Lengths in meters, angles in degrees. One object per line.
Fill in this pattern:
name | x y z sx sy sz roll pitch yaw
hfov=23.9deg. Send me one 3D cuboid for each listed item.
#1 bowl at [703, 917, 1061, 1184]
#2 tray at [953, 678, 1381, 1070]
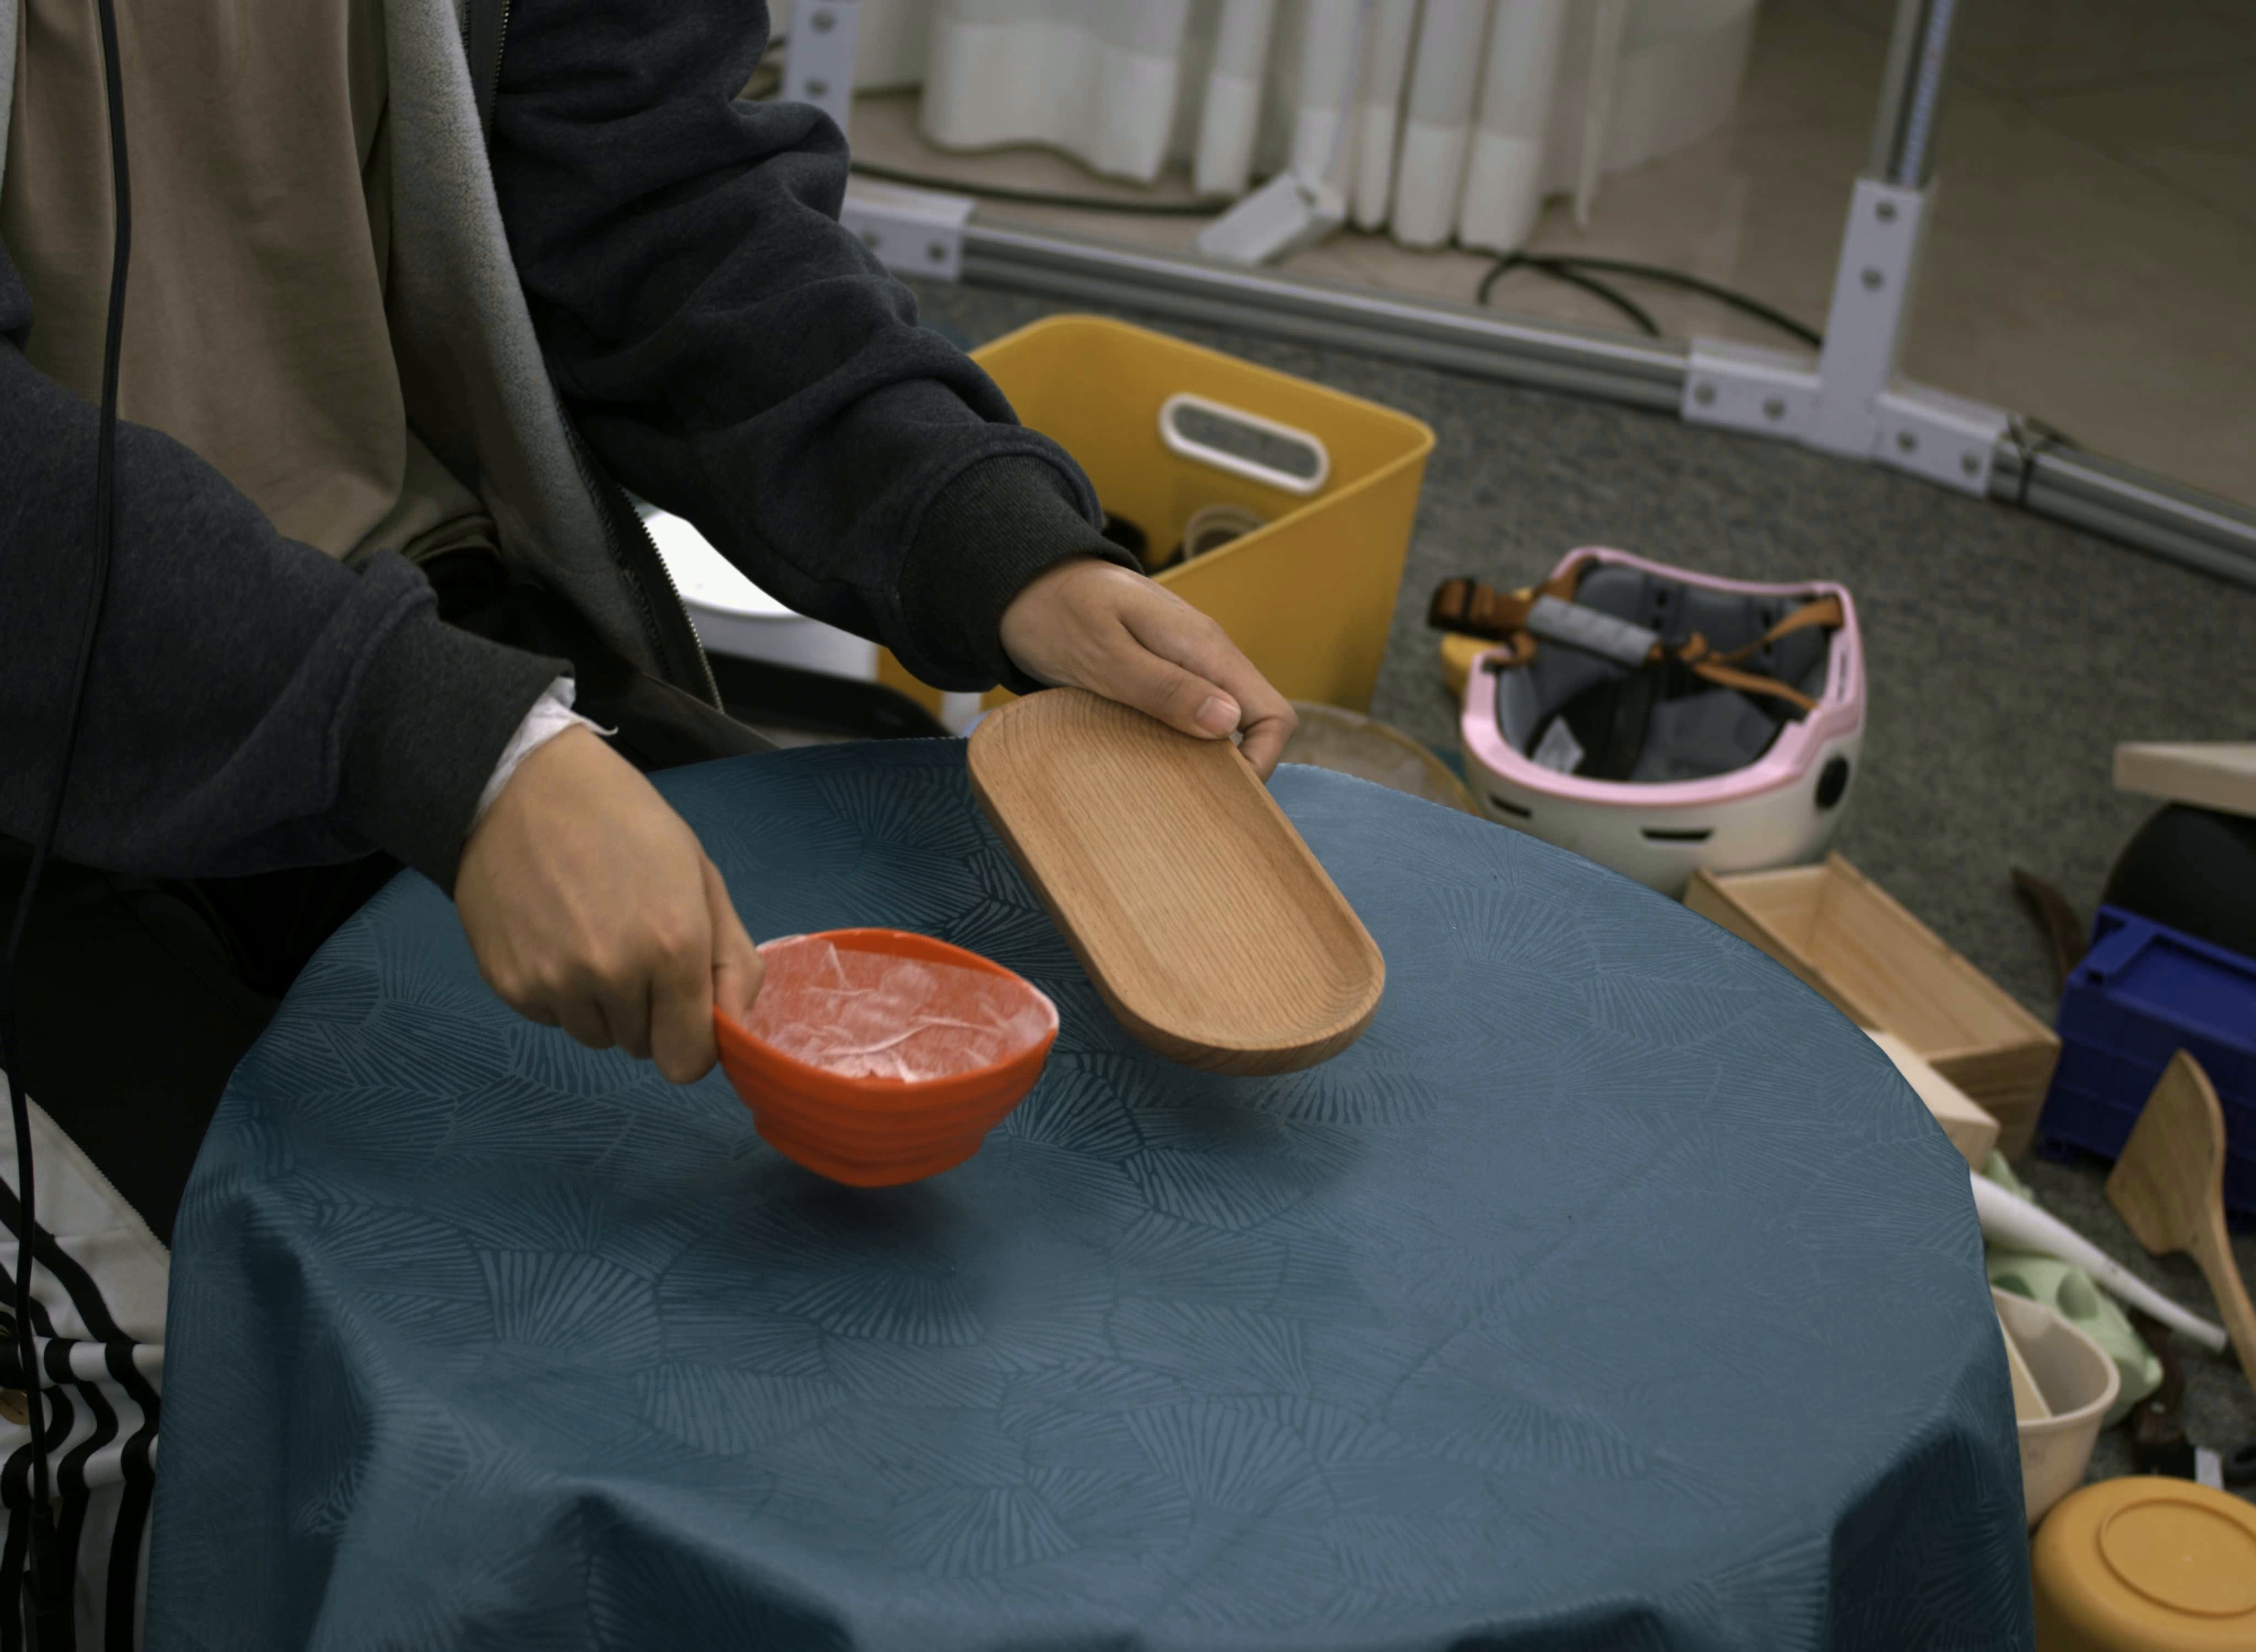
bowl | -0.084 0.078 1.766 0.118 0.051 0.119 6 25 -3
tray | 0.012 0.015 1.902 0.101 0.020 0.233 -10 36 -21
